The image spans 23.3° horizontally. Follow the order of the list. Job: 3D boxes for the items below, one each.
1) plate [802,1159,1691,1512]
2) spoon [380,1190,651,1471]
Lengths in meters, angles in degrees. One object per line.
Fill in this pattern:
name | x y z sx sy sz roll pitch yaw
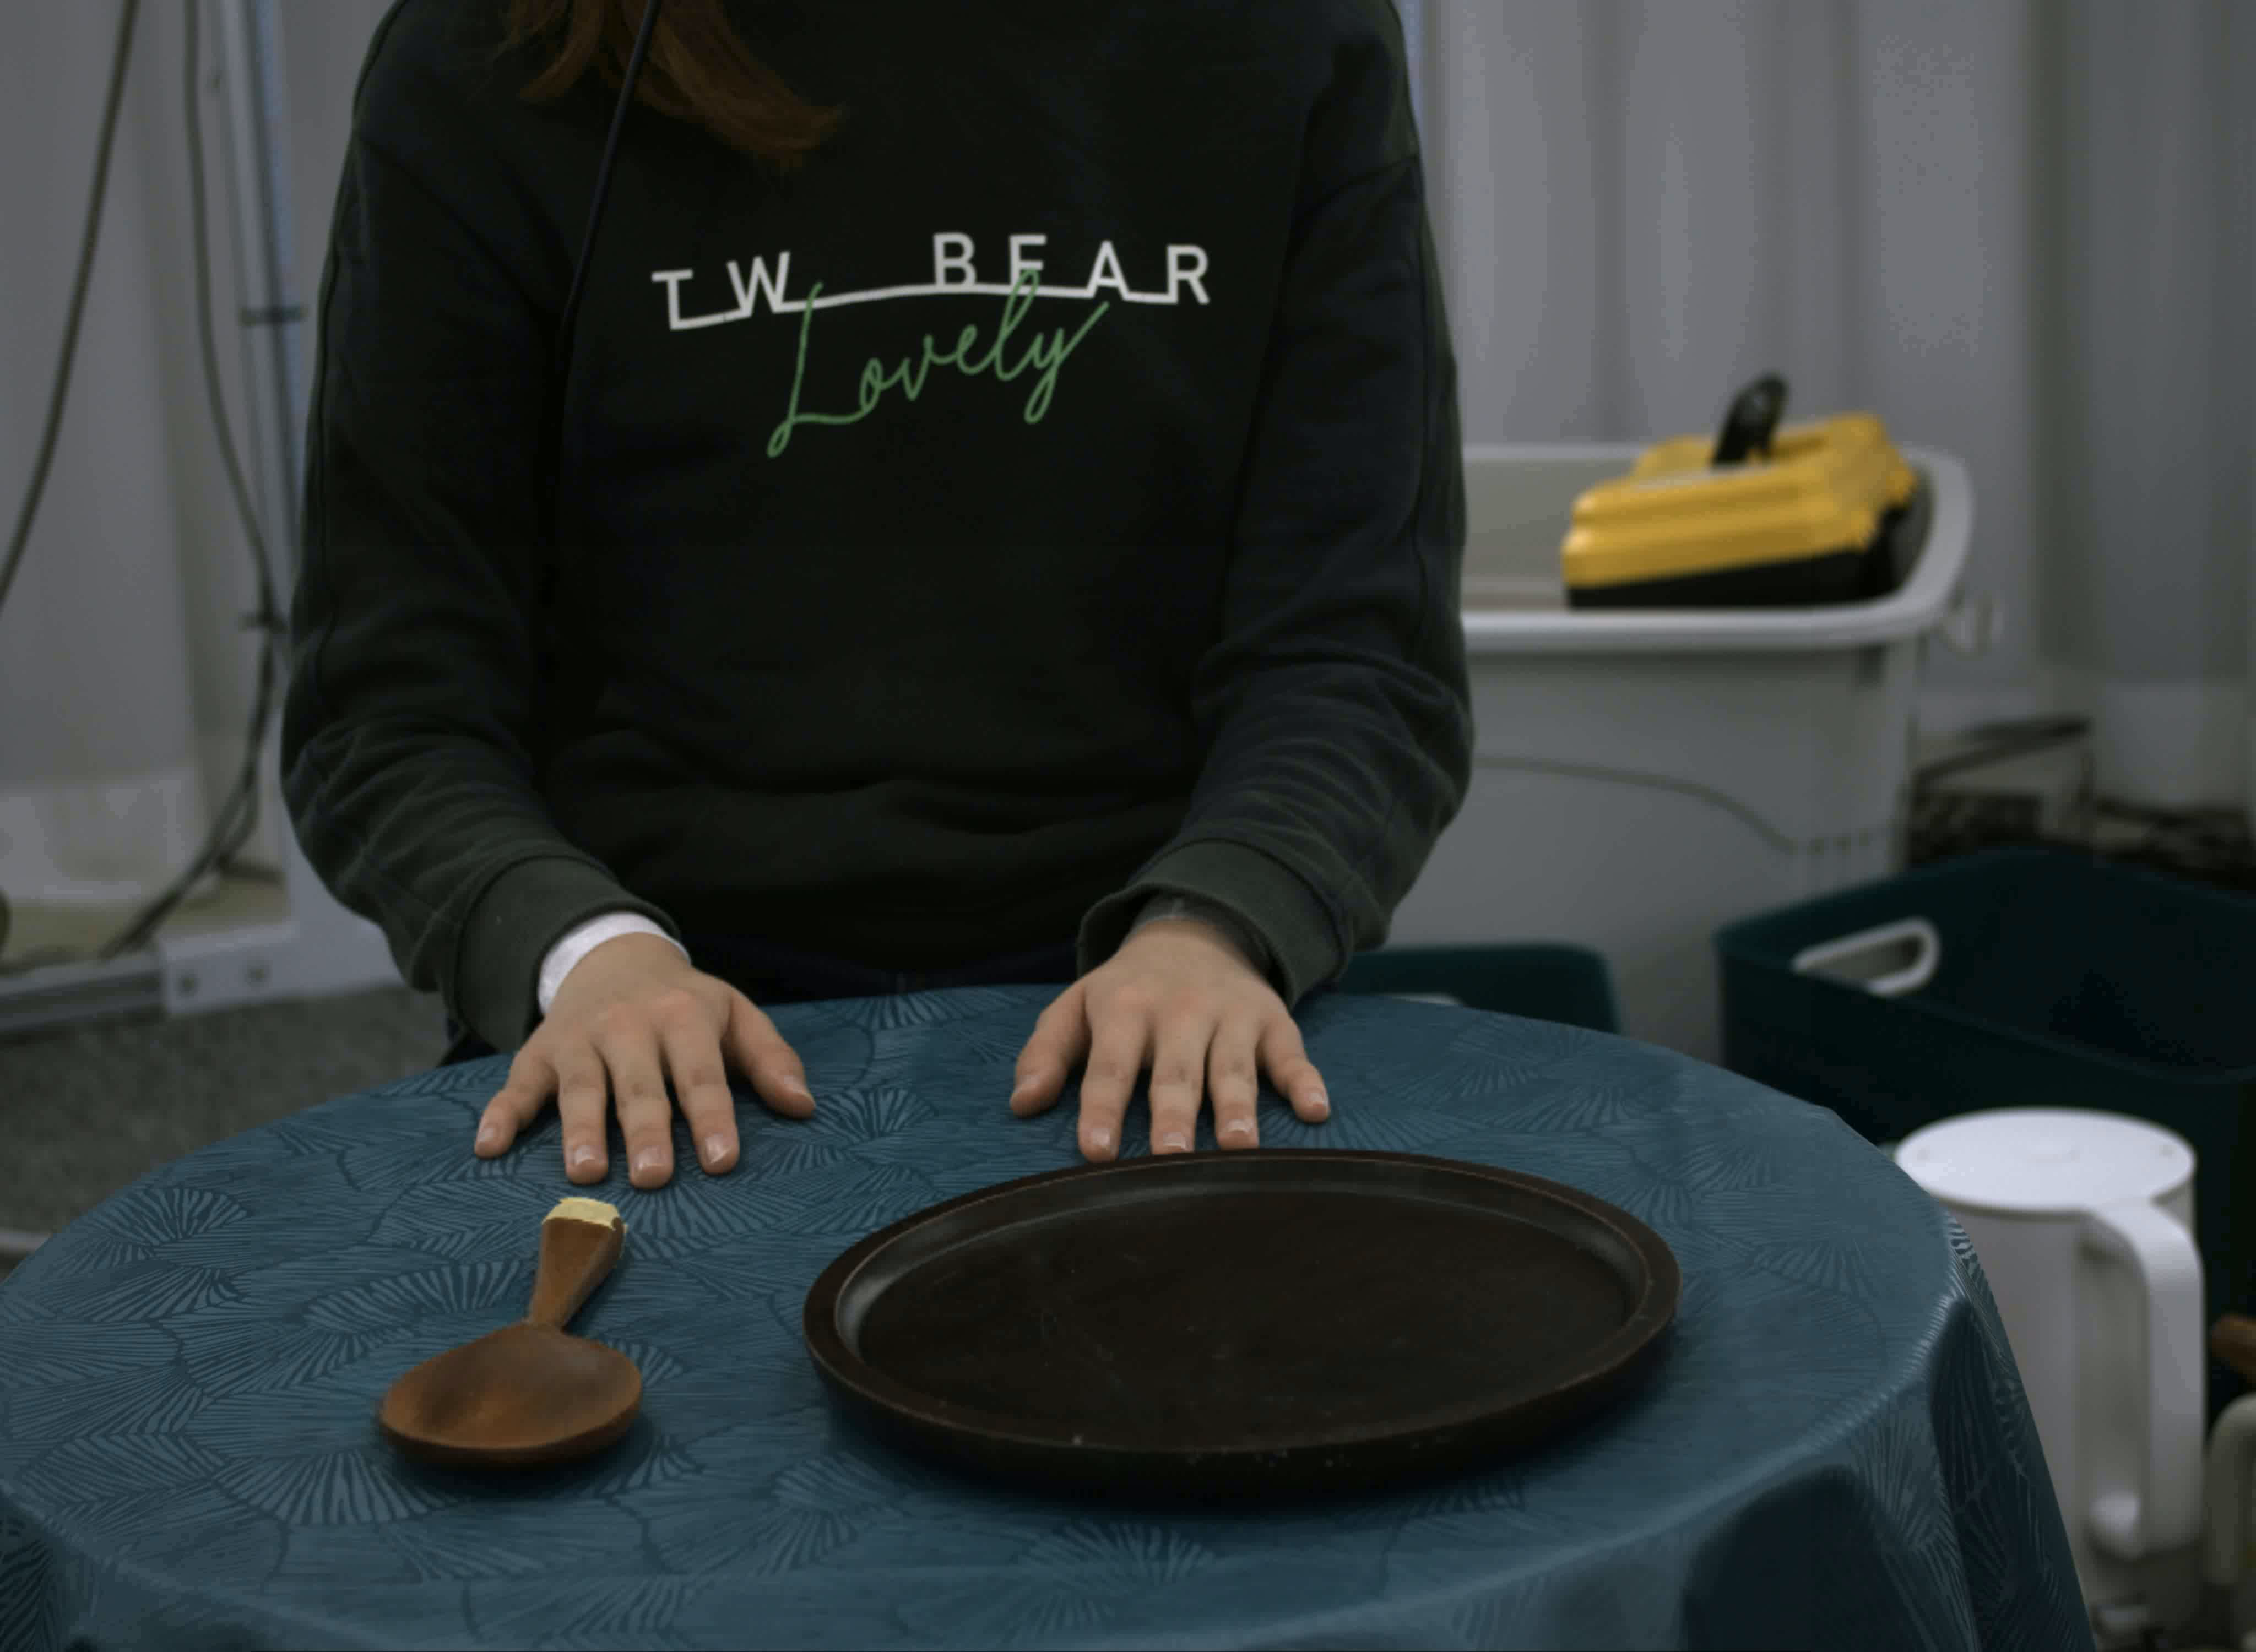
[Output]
plate | 0.033 0.142 1.562 0.254 0.029 0.256 -2 16 0
spoon | -0.169 0.148 1.589 0.075 0.017 0.217 -3 15 2
